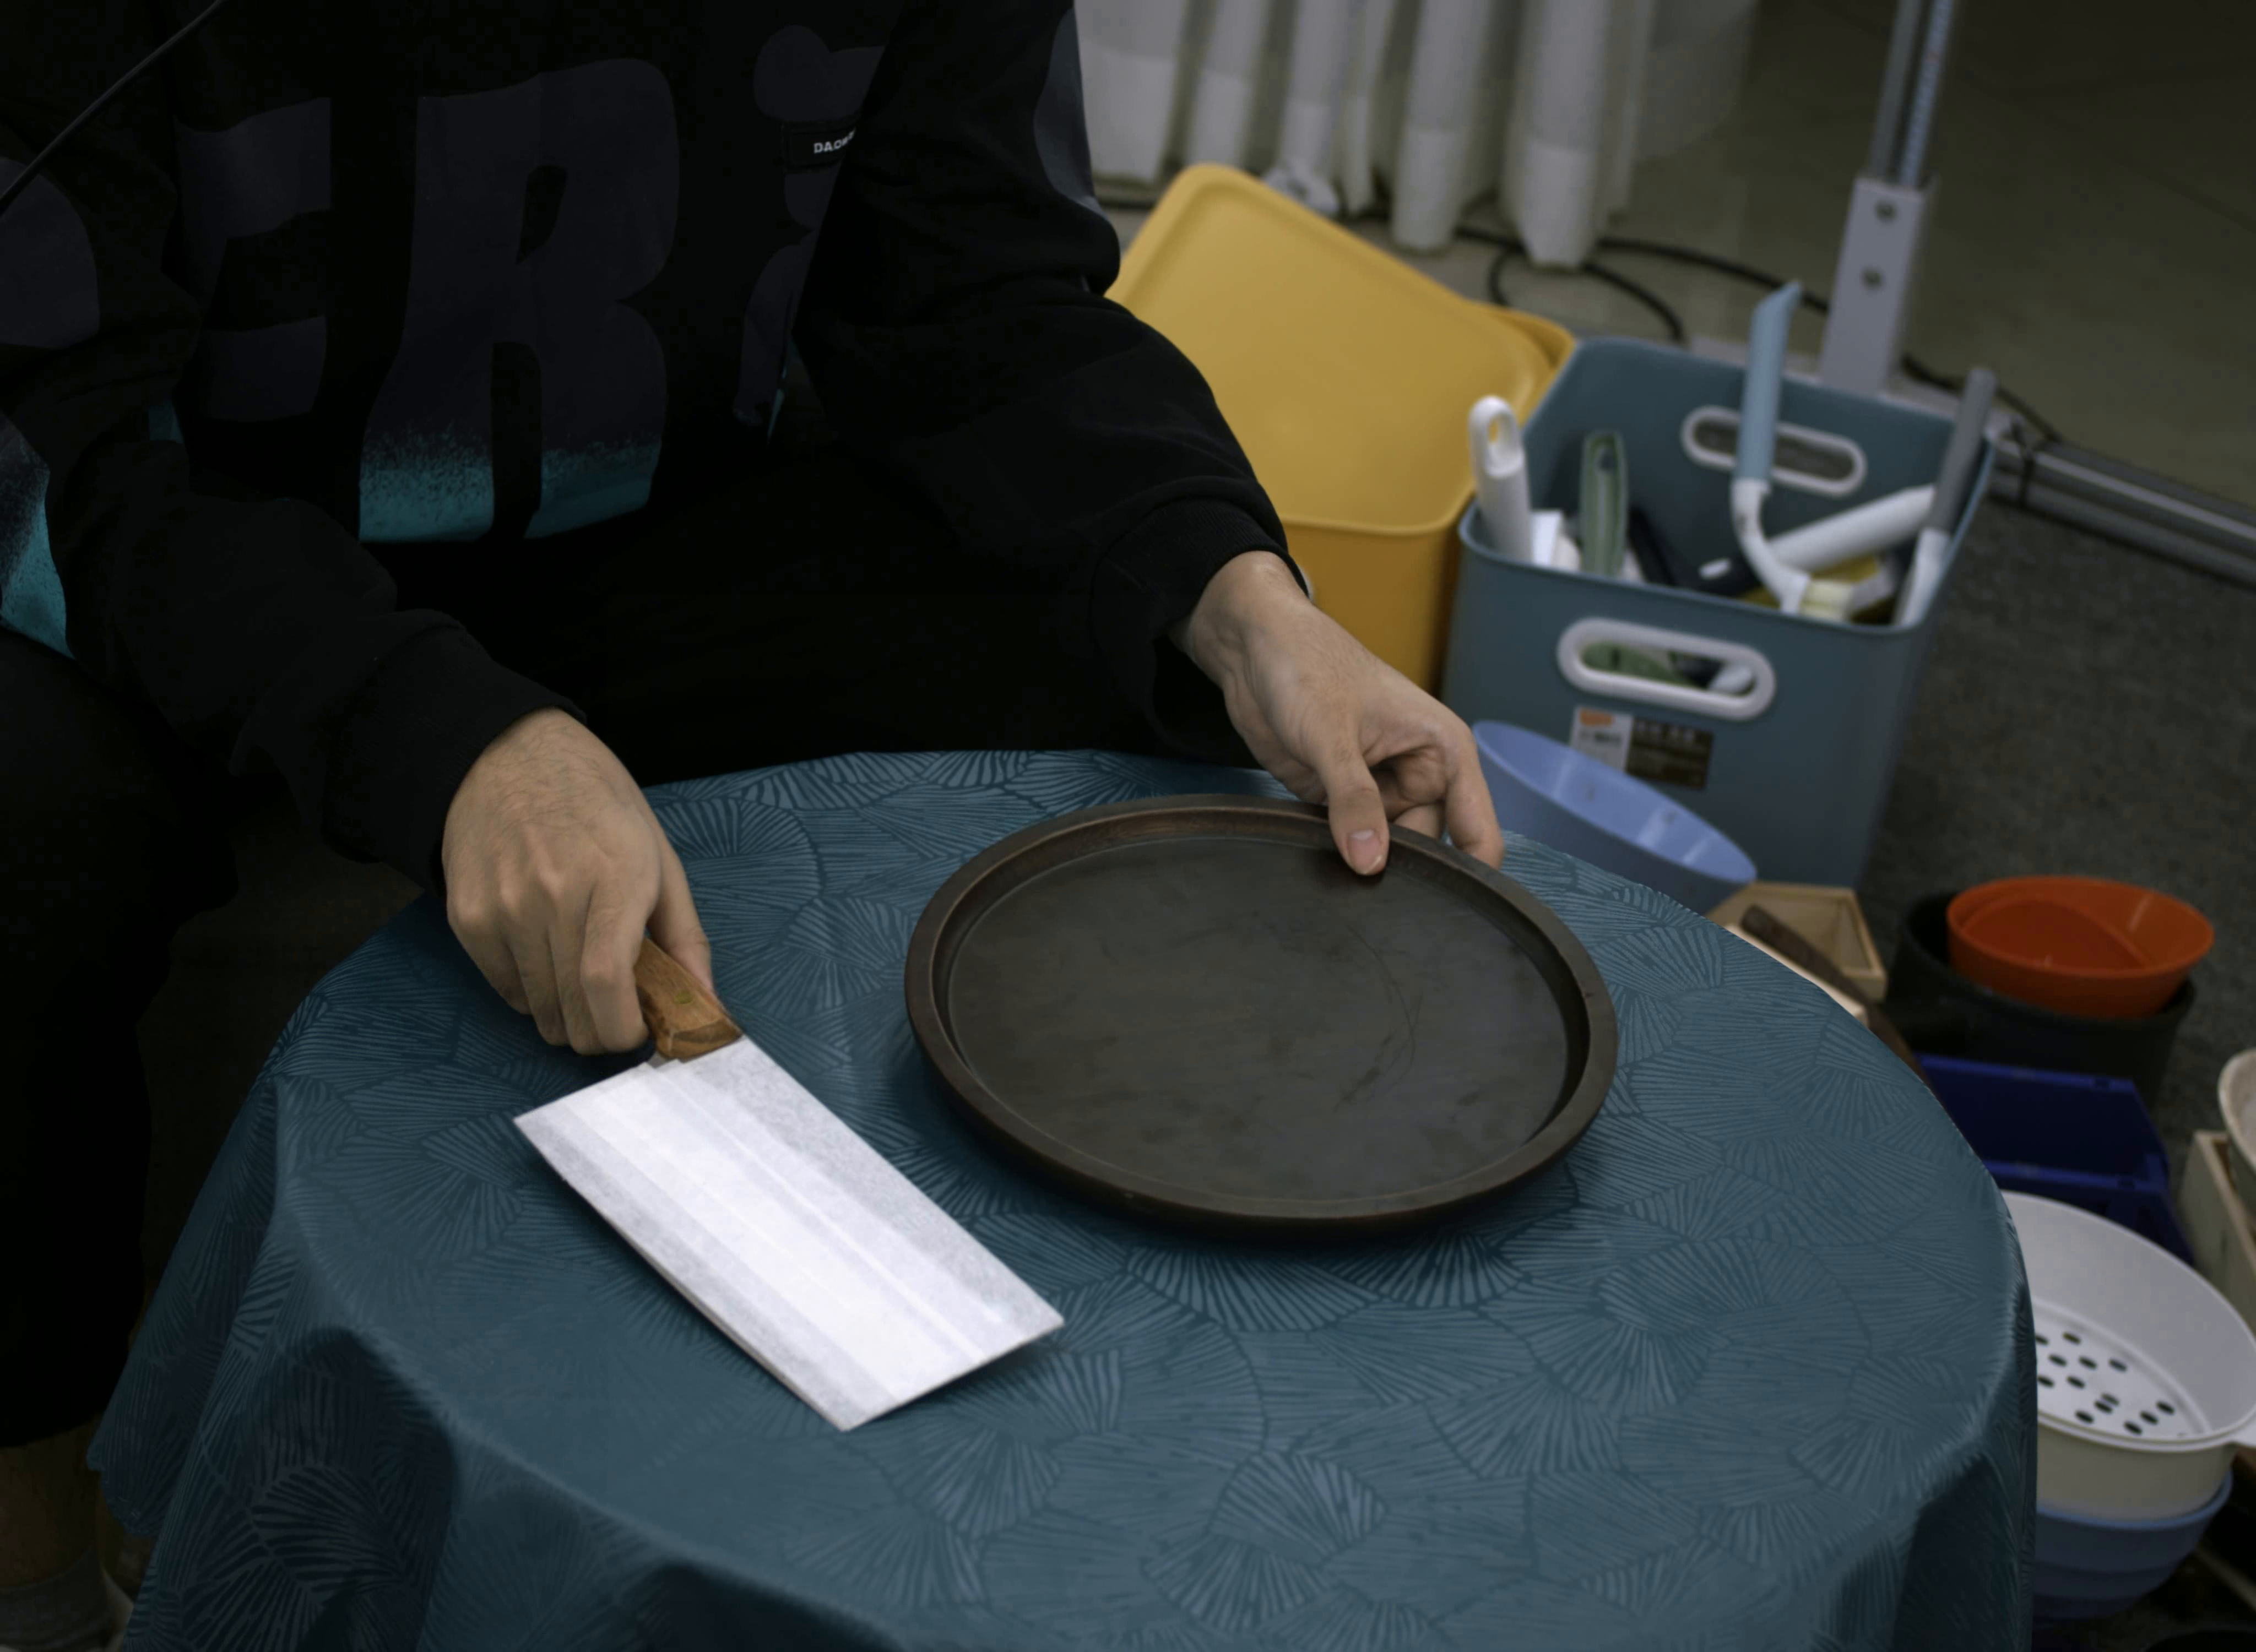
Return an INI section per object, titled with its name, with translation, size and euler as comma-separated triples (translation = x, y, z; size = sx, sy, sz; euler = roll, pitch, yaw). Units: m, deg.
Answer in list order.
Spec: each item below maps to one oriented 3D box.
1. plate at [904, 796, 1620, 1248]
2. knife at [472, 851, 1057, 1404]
[plate]
translation = 0.047, 0.067, 1.871
size = 0.254, 0.029, 0.256
euler = 5, 33, -4
[knife]
translation = -0.147, 0.100, 1.775
size = 0.092, 0.021, 0.308
euler = -22, 43, -31
